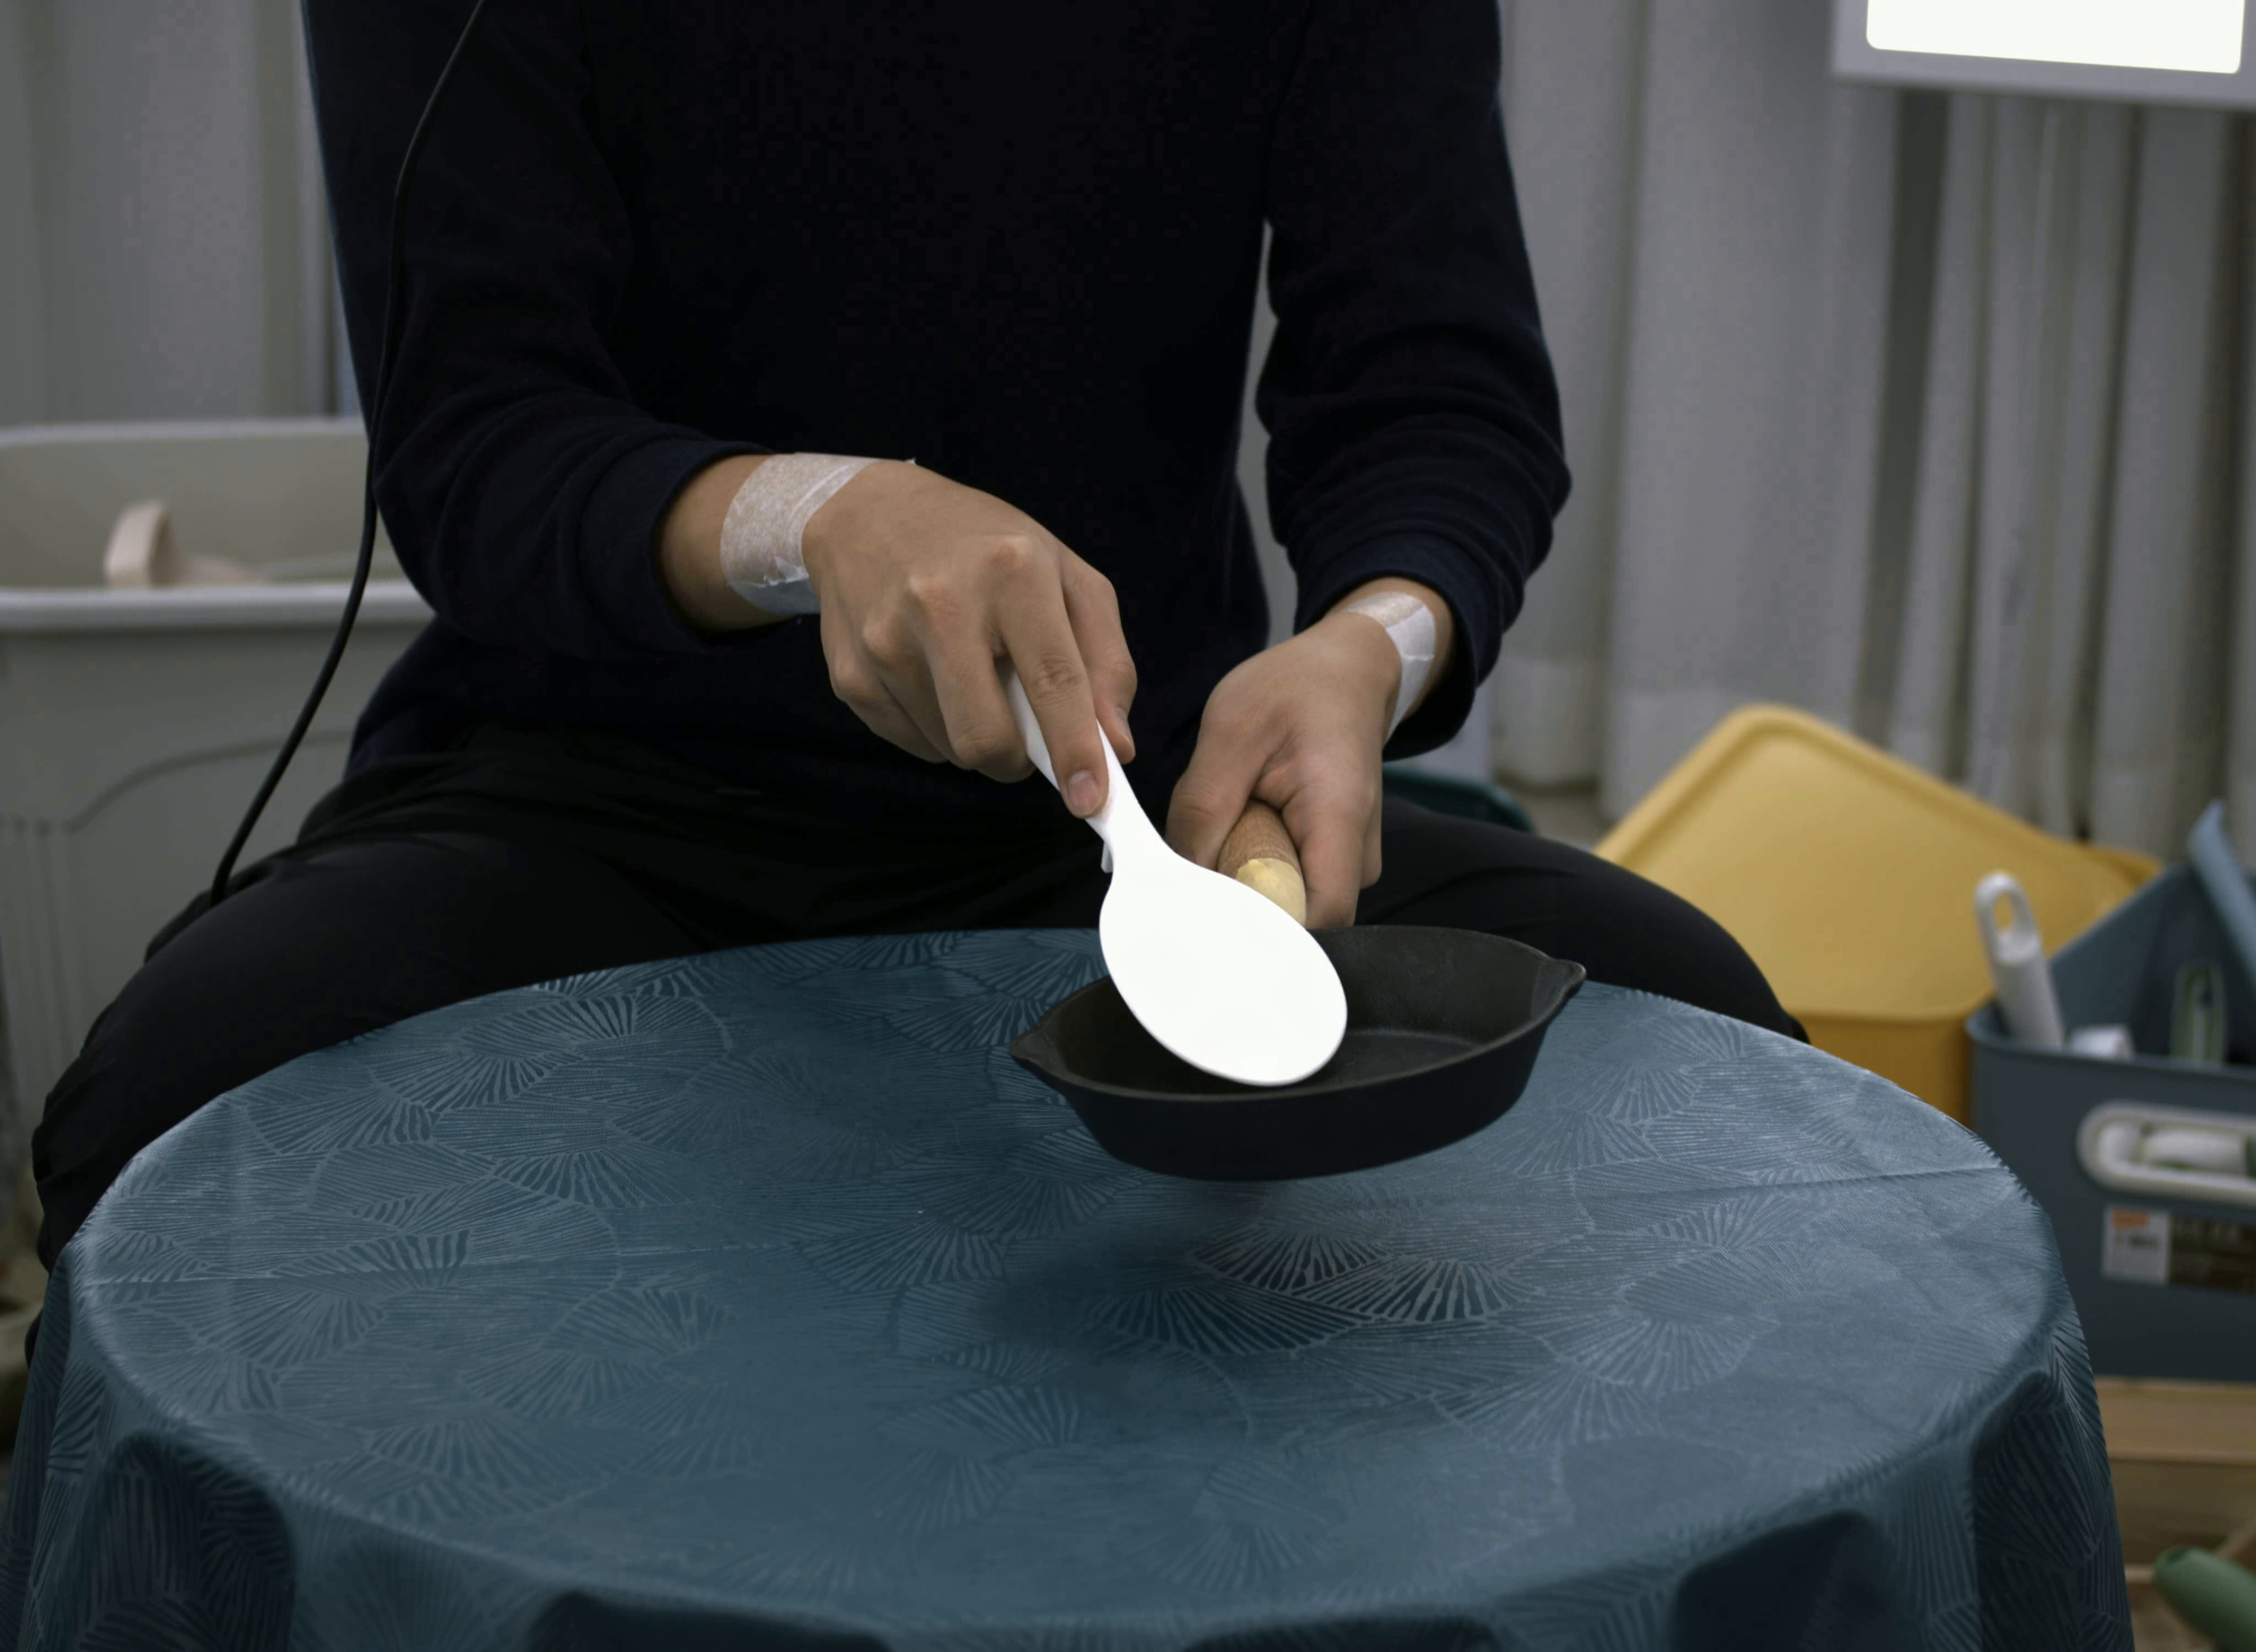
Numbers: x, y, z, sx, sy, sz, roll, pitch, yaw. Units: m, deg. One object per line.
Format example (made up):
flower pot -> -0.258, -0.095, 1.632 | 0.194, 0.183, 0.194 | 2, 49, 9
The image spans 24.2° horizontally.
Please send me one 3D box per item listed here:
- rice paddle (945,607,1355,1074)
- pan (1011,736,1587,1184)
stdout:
rice paddle -> 0.004, 0.005, 1.605 | 0.069, 0.030, 0.202 | -15, 47, -26
pan -> 0.049, 0.037, 1.609 | 0.168, 0.050, 0.322 | -6, 17, 1
